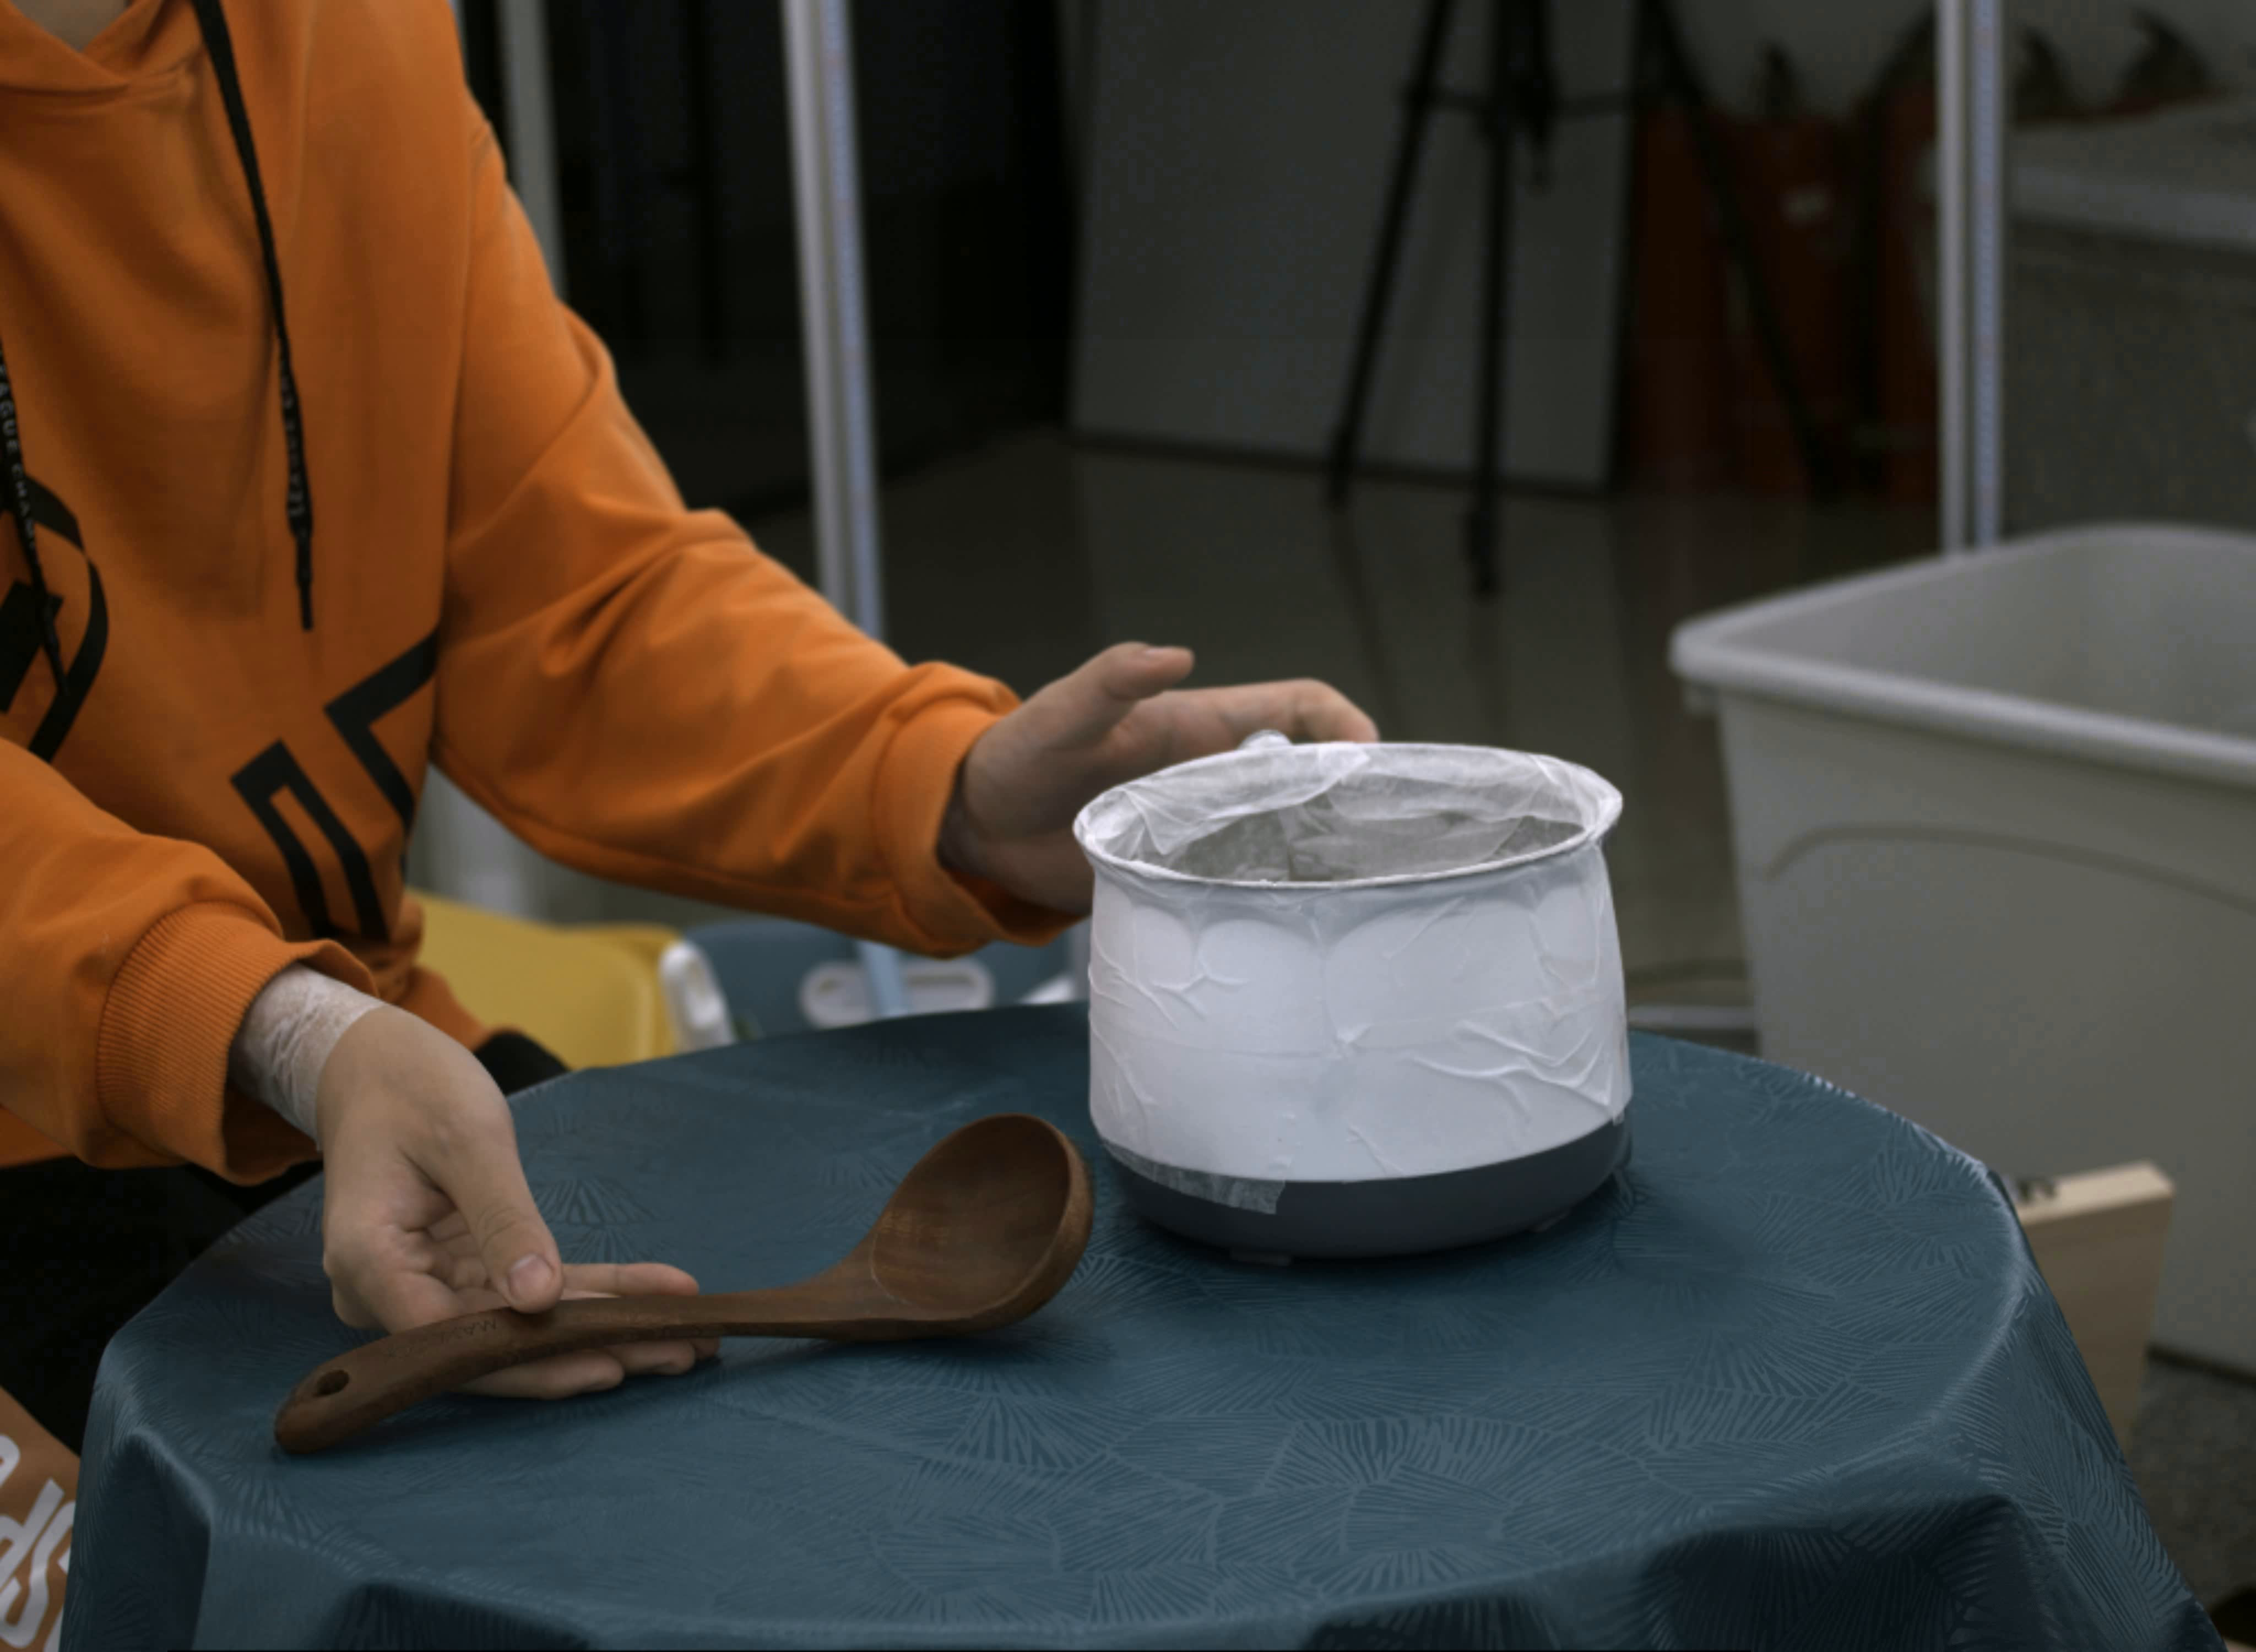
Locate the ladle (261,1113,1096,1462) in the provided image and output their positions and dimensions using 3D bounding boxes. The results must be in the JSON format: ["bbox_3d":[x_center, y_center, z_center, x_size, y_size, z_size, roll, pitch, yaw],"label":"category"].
[{"bbox_3d":[-0.132,0.137,1.613,0.255,0.066,0.077,-8,27,-19],"label":"ladle"}]

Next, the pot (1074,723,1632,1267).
[{"bbox_3d":[0.066,0.049,1.756,0.175,0.138,0.235,-7,14,-13],"label":"pot"}]
